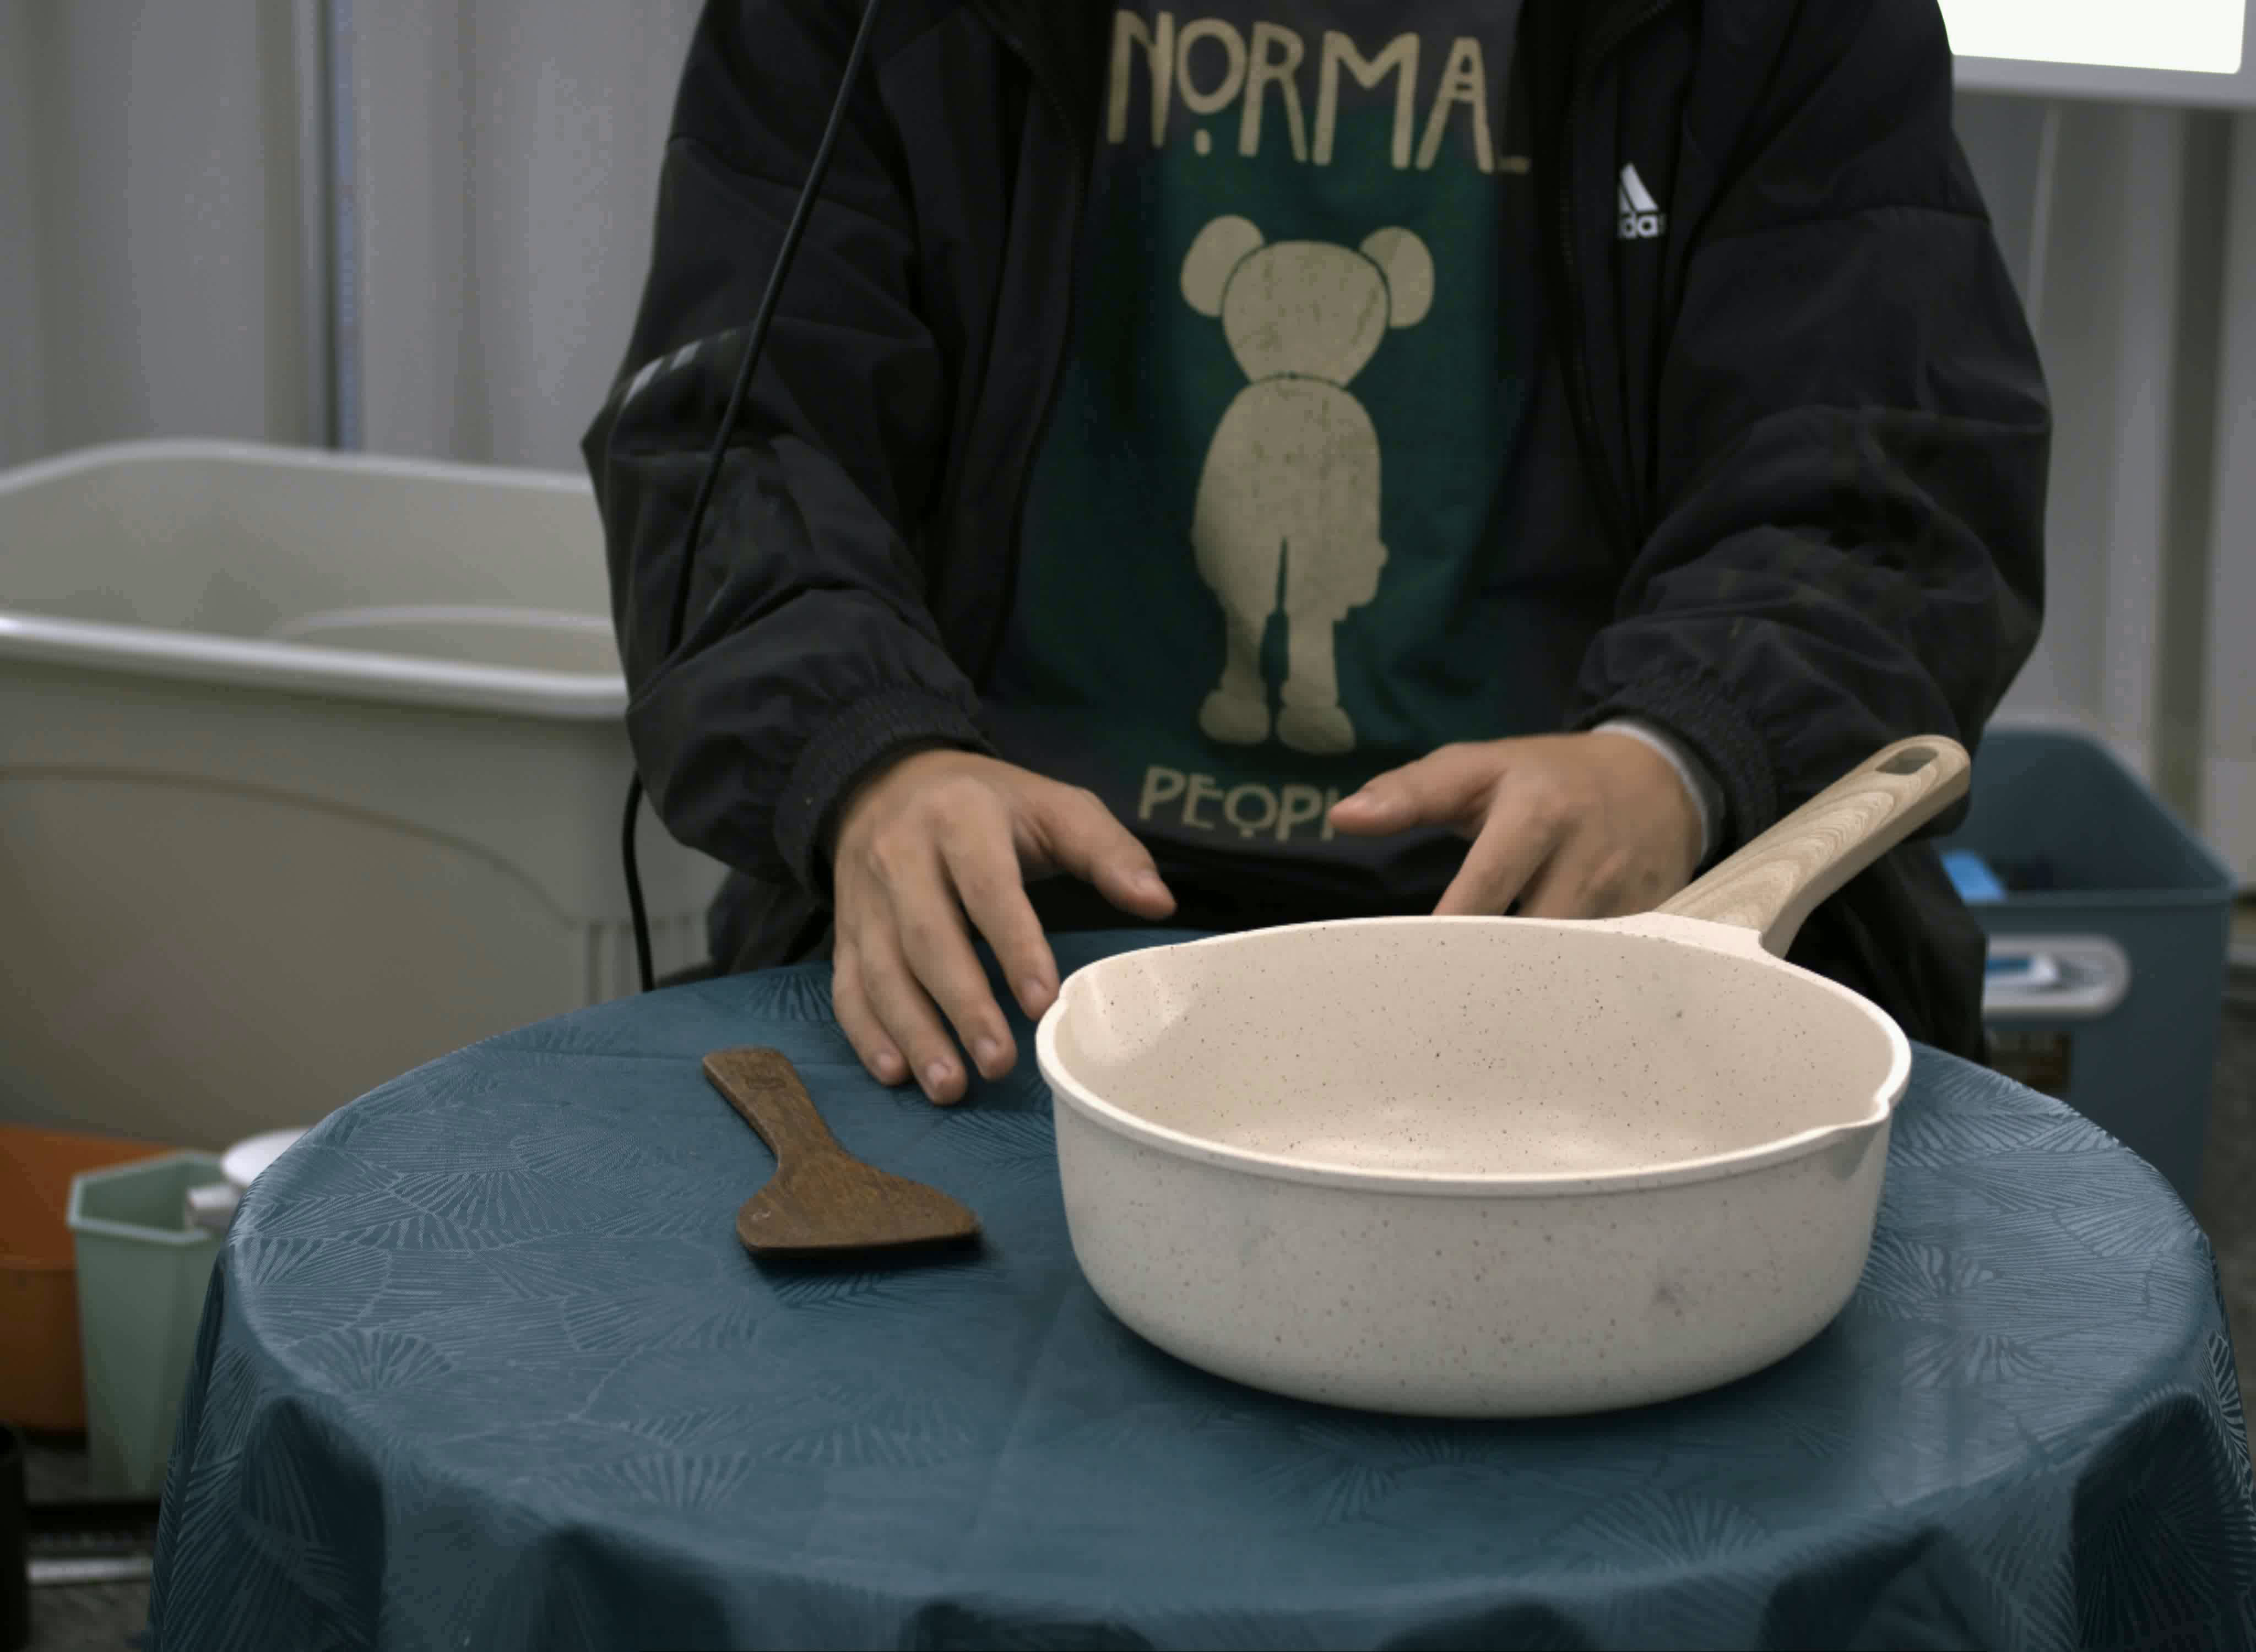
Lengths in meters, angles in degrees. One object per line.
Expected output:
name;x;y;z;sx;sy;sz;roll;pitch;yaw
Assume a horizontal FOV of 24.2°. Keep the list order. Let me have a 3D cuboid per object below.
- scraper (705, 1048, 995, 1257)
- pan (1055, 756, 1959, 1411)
scraper;-0.100;0.101;1.646;0.076;0.011;0.209;-3;15;-15
pan;0.154;0.072;1.592;0.260;0.103;0.436;8;17;32
